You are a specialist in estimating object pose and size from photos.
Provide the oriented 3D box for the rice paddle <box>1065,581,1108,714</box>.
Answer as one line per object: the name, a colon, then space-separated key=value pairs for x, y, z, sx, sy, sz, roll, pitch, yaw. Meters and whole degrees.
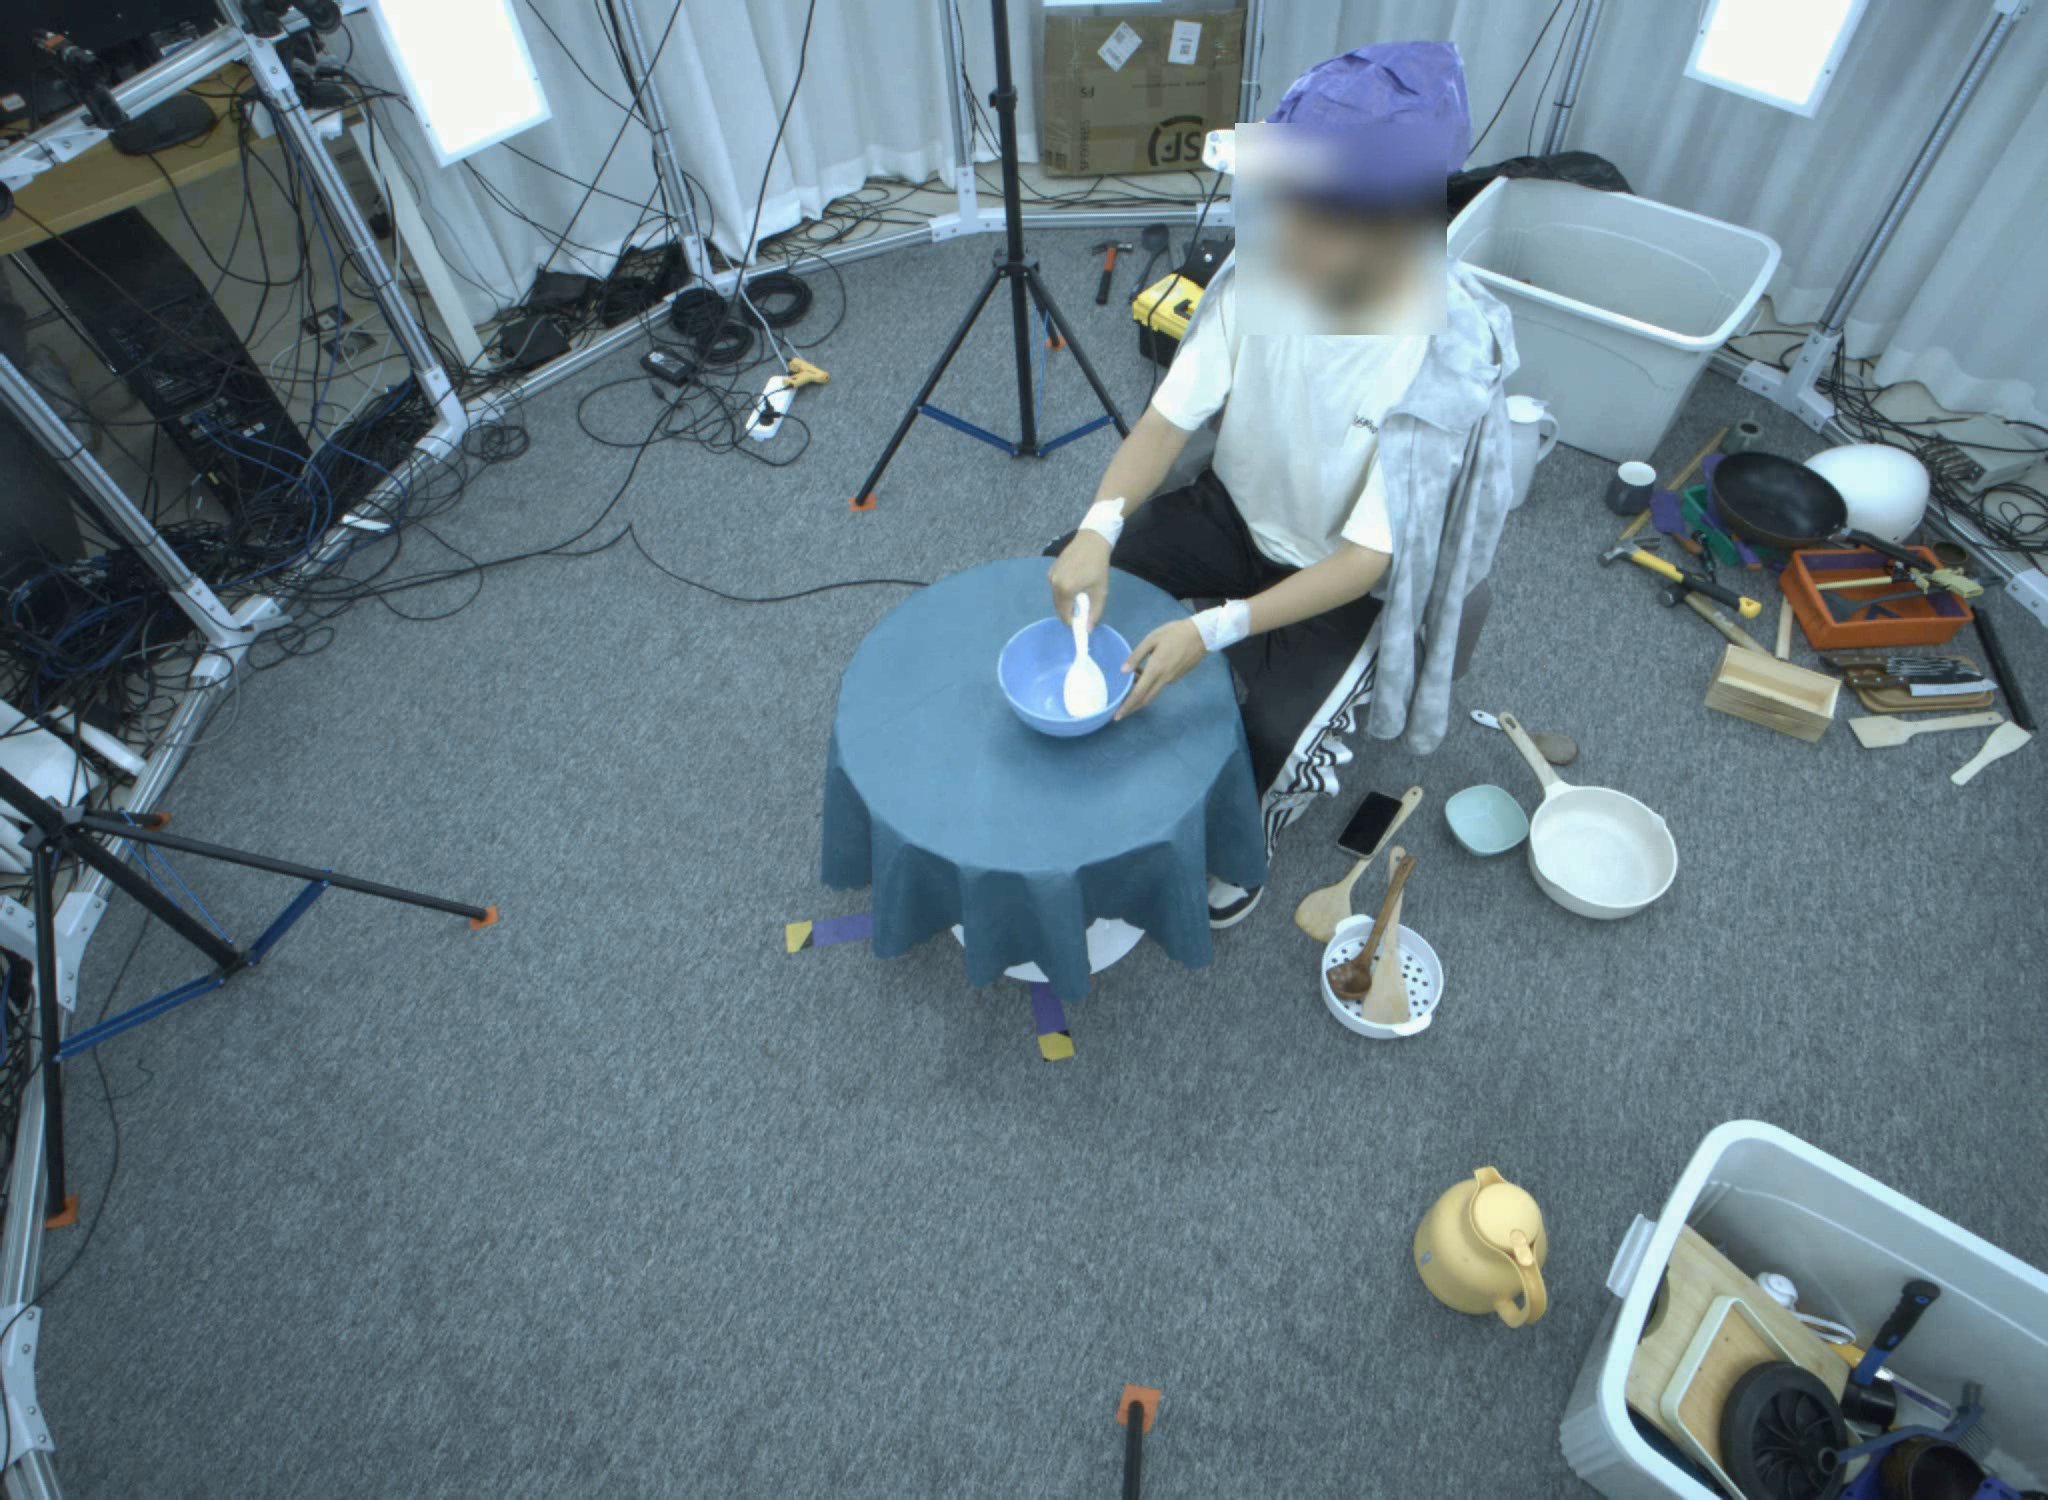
rice paddle: x=0.086 y=-0.141 z=1.787 sx=0.067 sy=0.030 sz=0.205 roll=-3 pitch=93 yaw=28

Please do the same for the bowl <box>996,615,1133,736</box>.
bowl: x=0.062 y=-0.094 z=1.793 sx=0.196 sy=0.096 sz=0.194 roll=-2 pitch=55 yaw=4
